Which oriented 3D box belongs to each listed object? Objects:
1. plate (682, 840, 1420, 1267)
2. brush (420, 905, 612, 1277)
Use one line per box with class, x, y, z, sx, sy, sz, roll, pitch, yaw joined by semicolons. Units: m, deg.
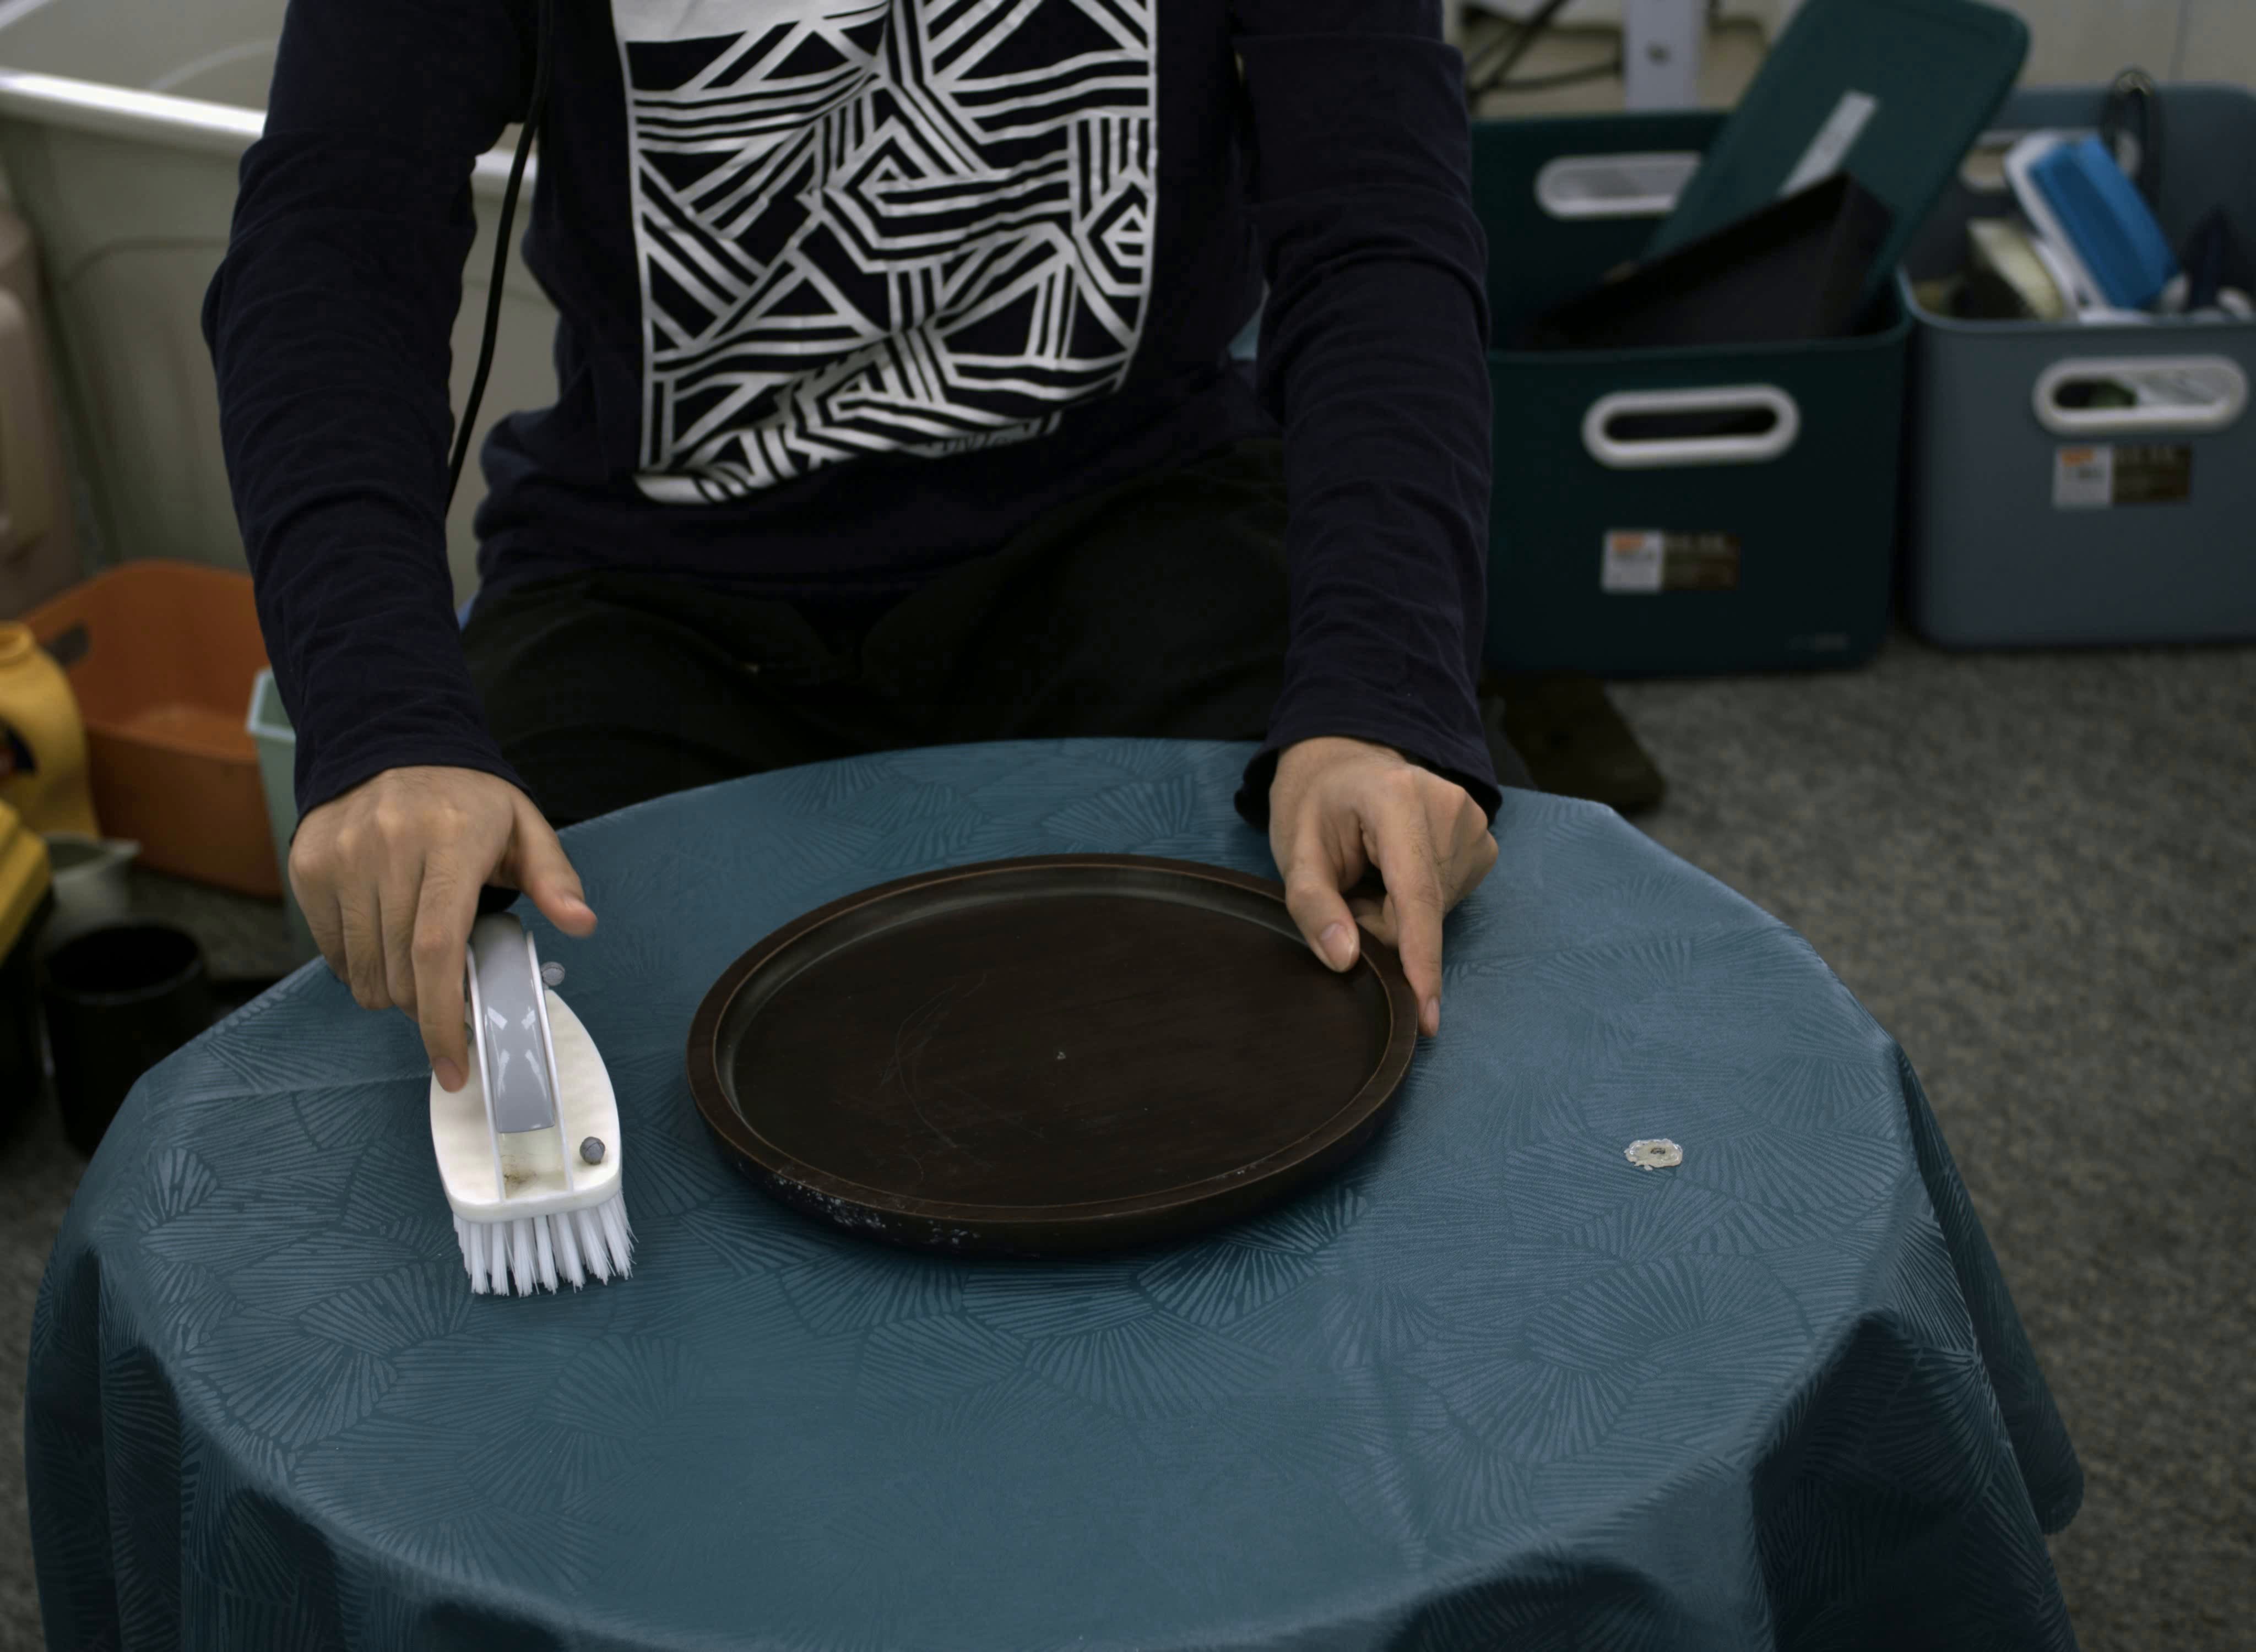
plate;-0.026;0.079;1.921;0.253;0.029;0.259;-2;28;1
brush;-0.208;0.073;1.873;0.061;0.093;0.177;-5;24;-10
